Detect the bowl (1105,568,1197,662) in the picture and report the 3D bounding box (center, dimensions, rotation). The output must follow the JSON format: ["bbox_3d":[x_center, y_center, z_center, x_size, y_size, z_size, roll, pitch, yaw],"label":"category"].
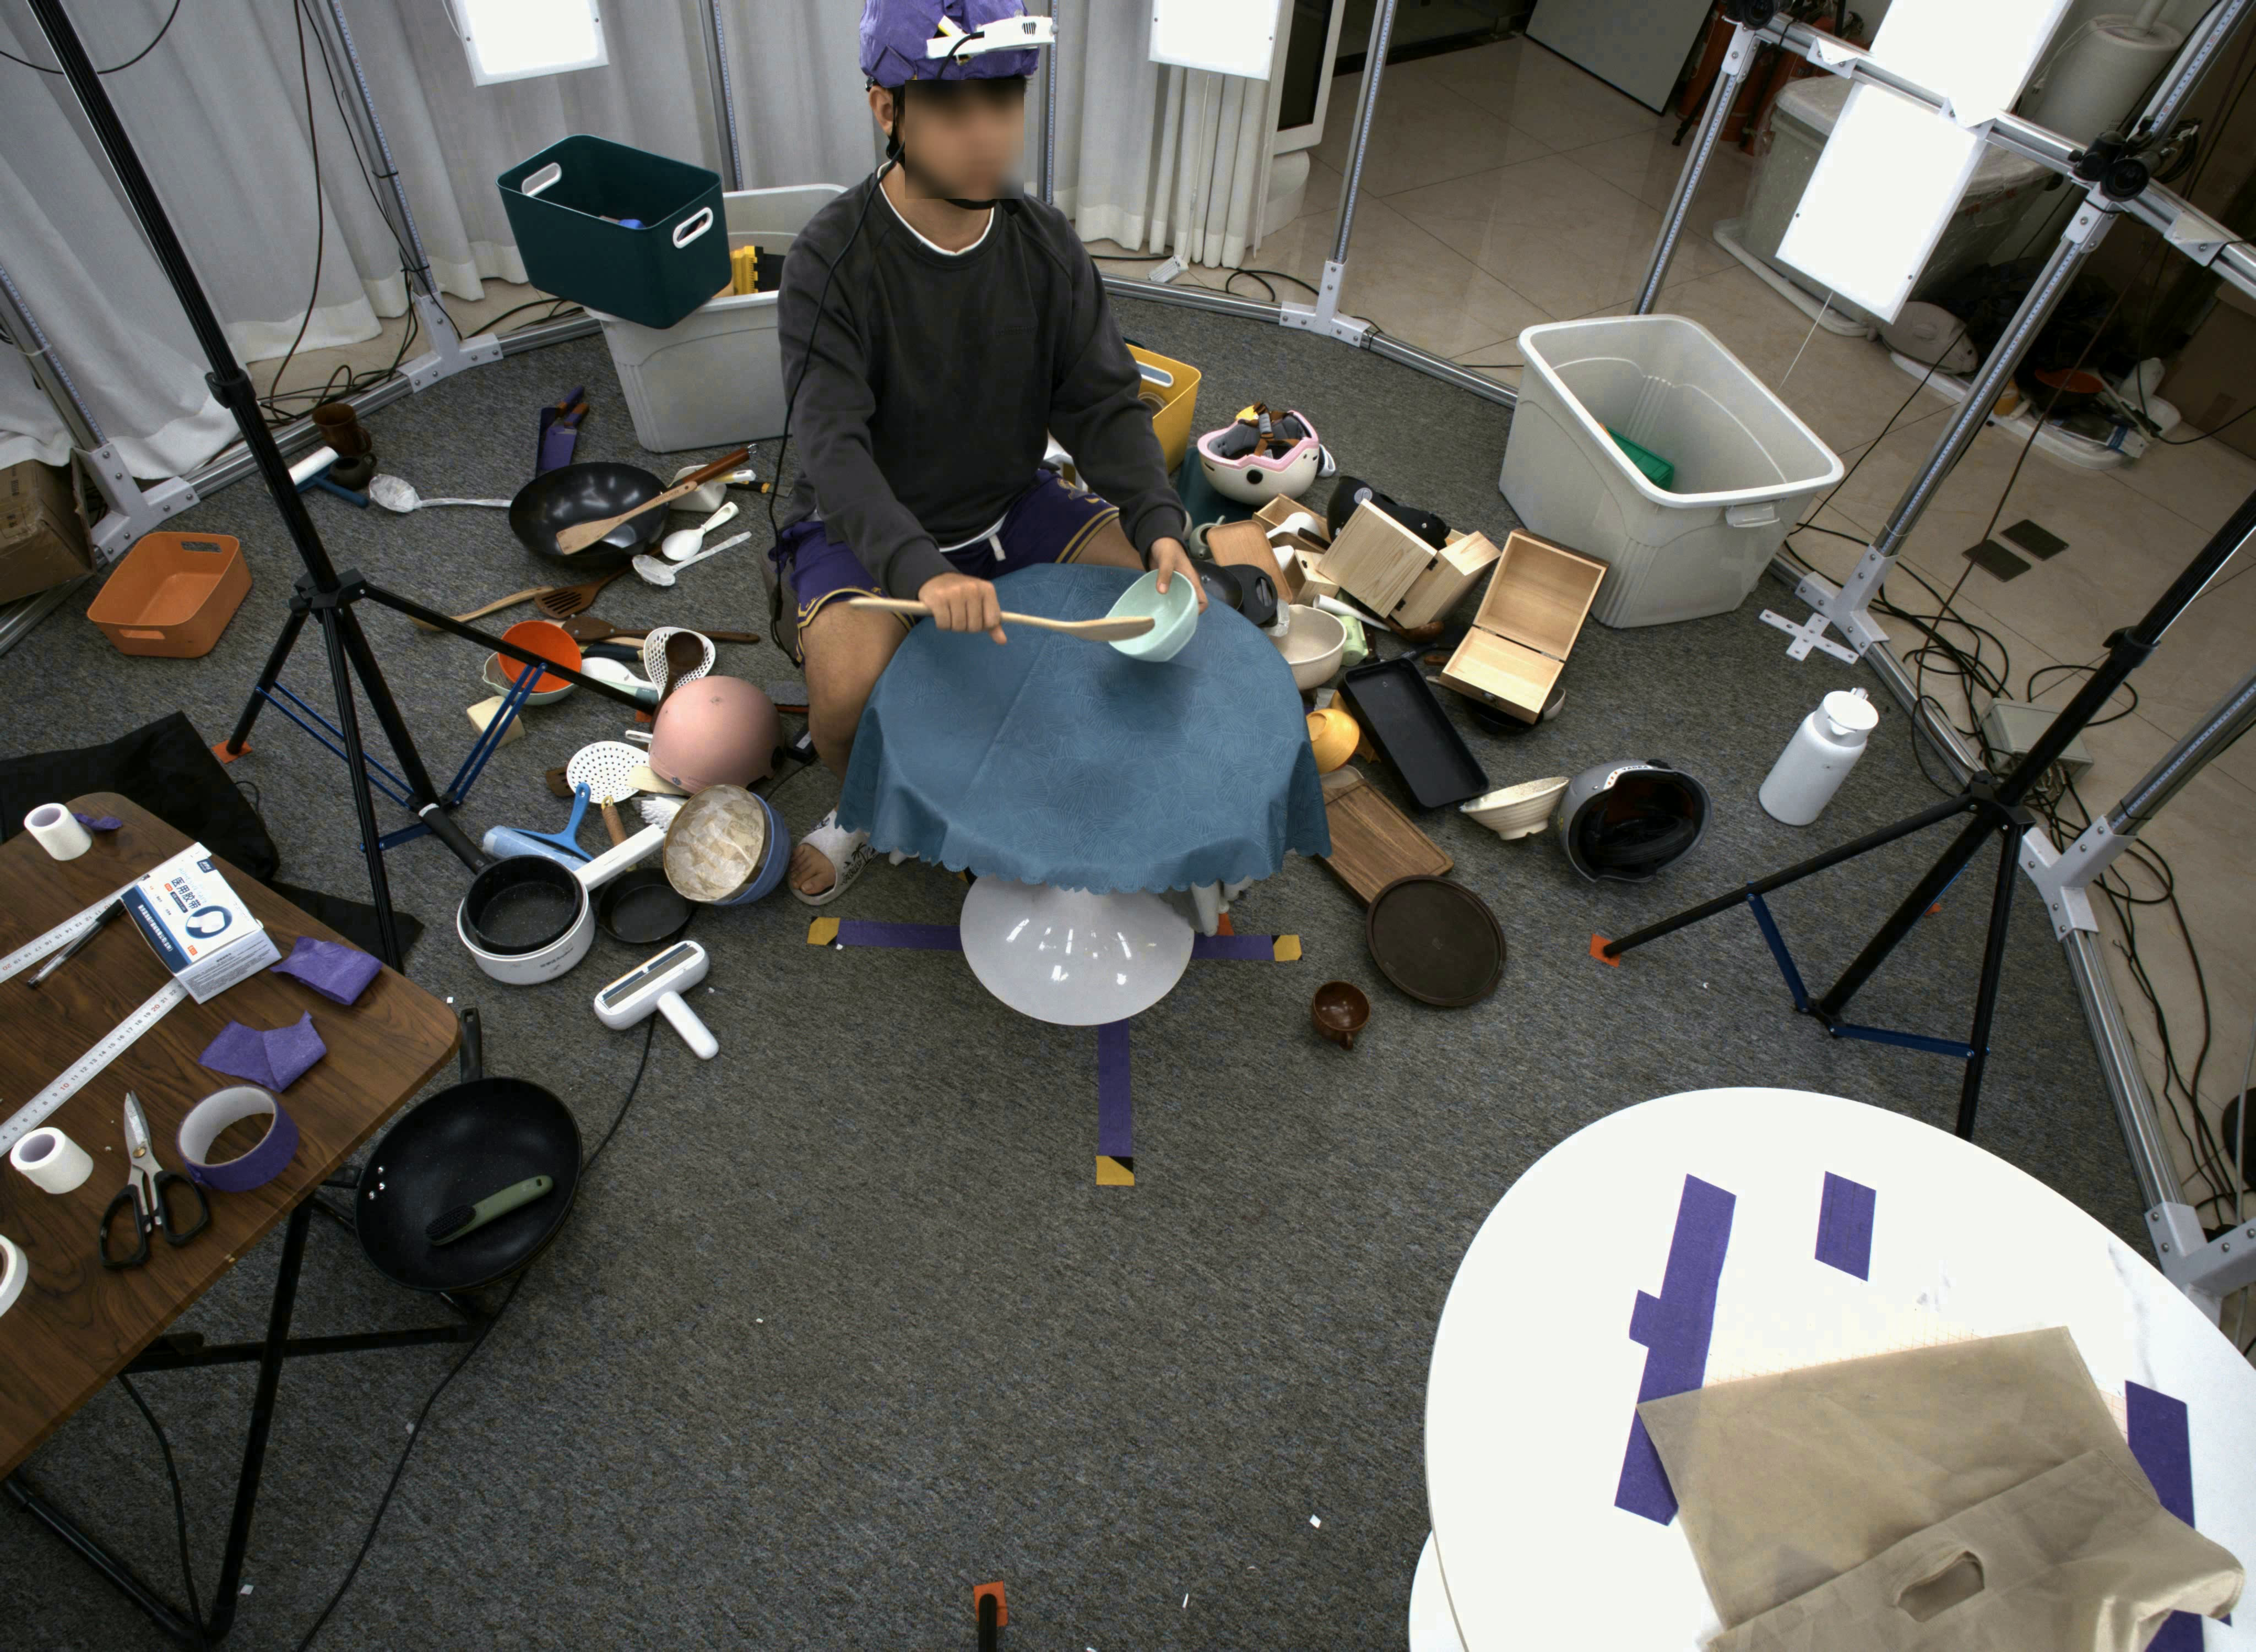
[{"bbox_3d":[0.042,-0.286,1.806,0.150,0.057,0.155,-23,46,26],"label":"bowl"}]

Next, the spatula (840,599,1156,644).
[{"bbox_3d":[-0.157,-0.260,1.602,0.389,0.095,0.019,4,77,-13],"label":"spatula"}]
